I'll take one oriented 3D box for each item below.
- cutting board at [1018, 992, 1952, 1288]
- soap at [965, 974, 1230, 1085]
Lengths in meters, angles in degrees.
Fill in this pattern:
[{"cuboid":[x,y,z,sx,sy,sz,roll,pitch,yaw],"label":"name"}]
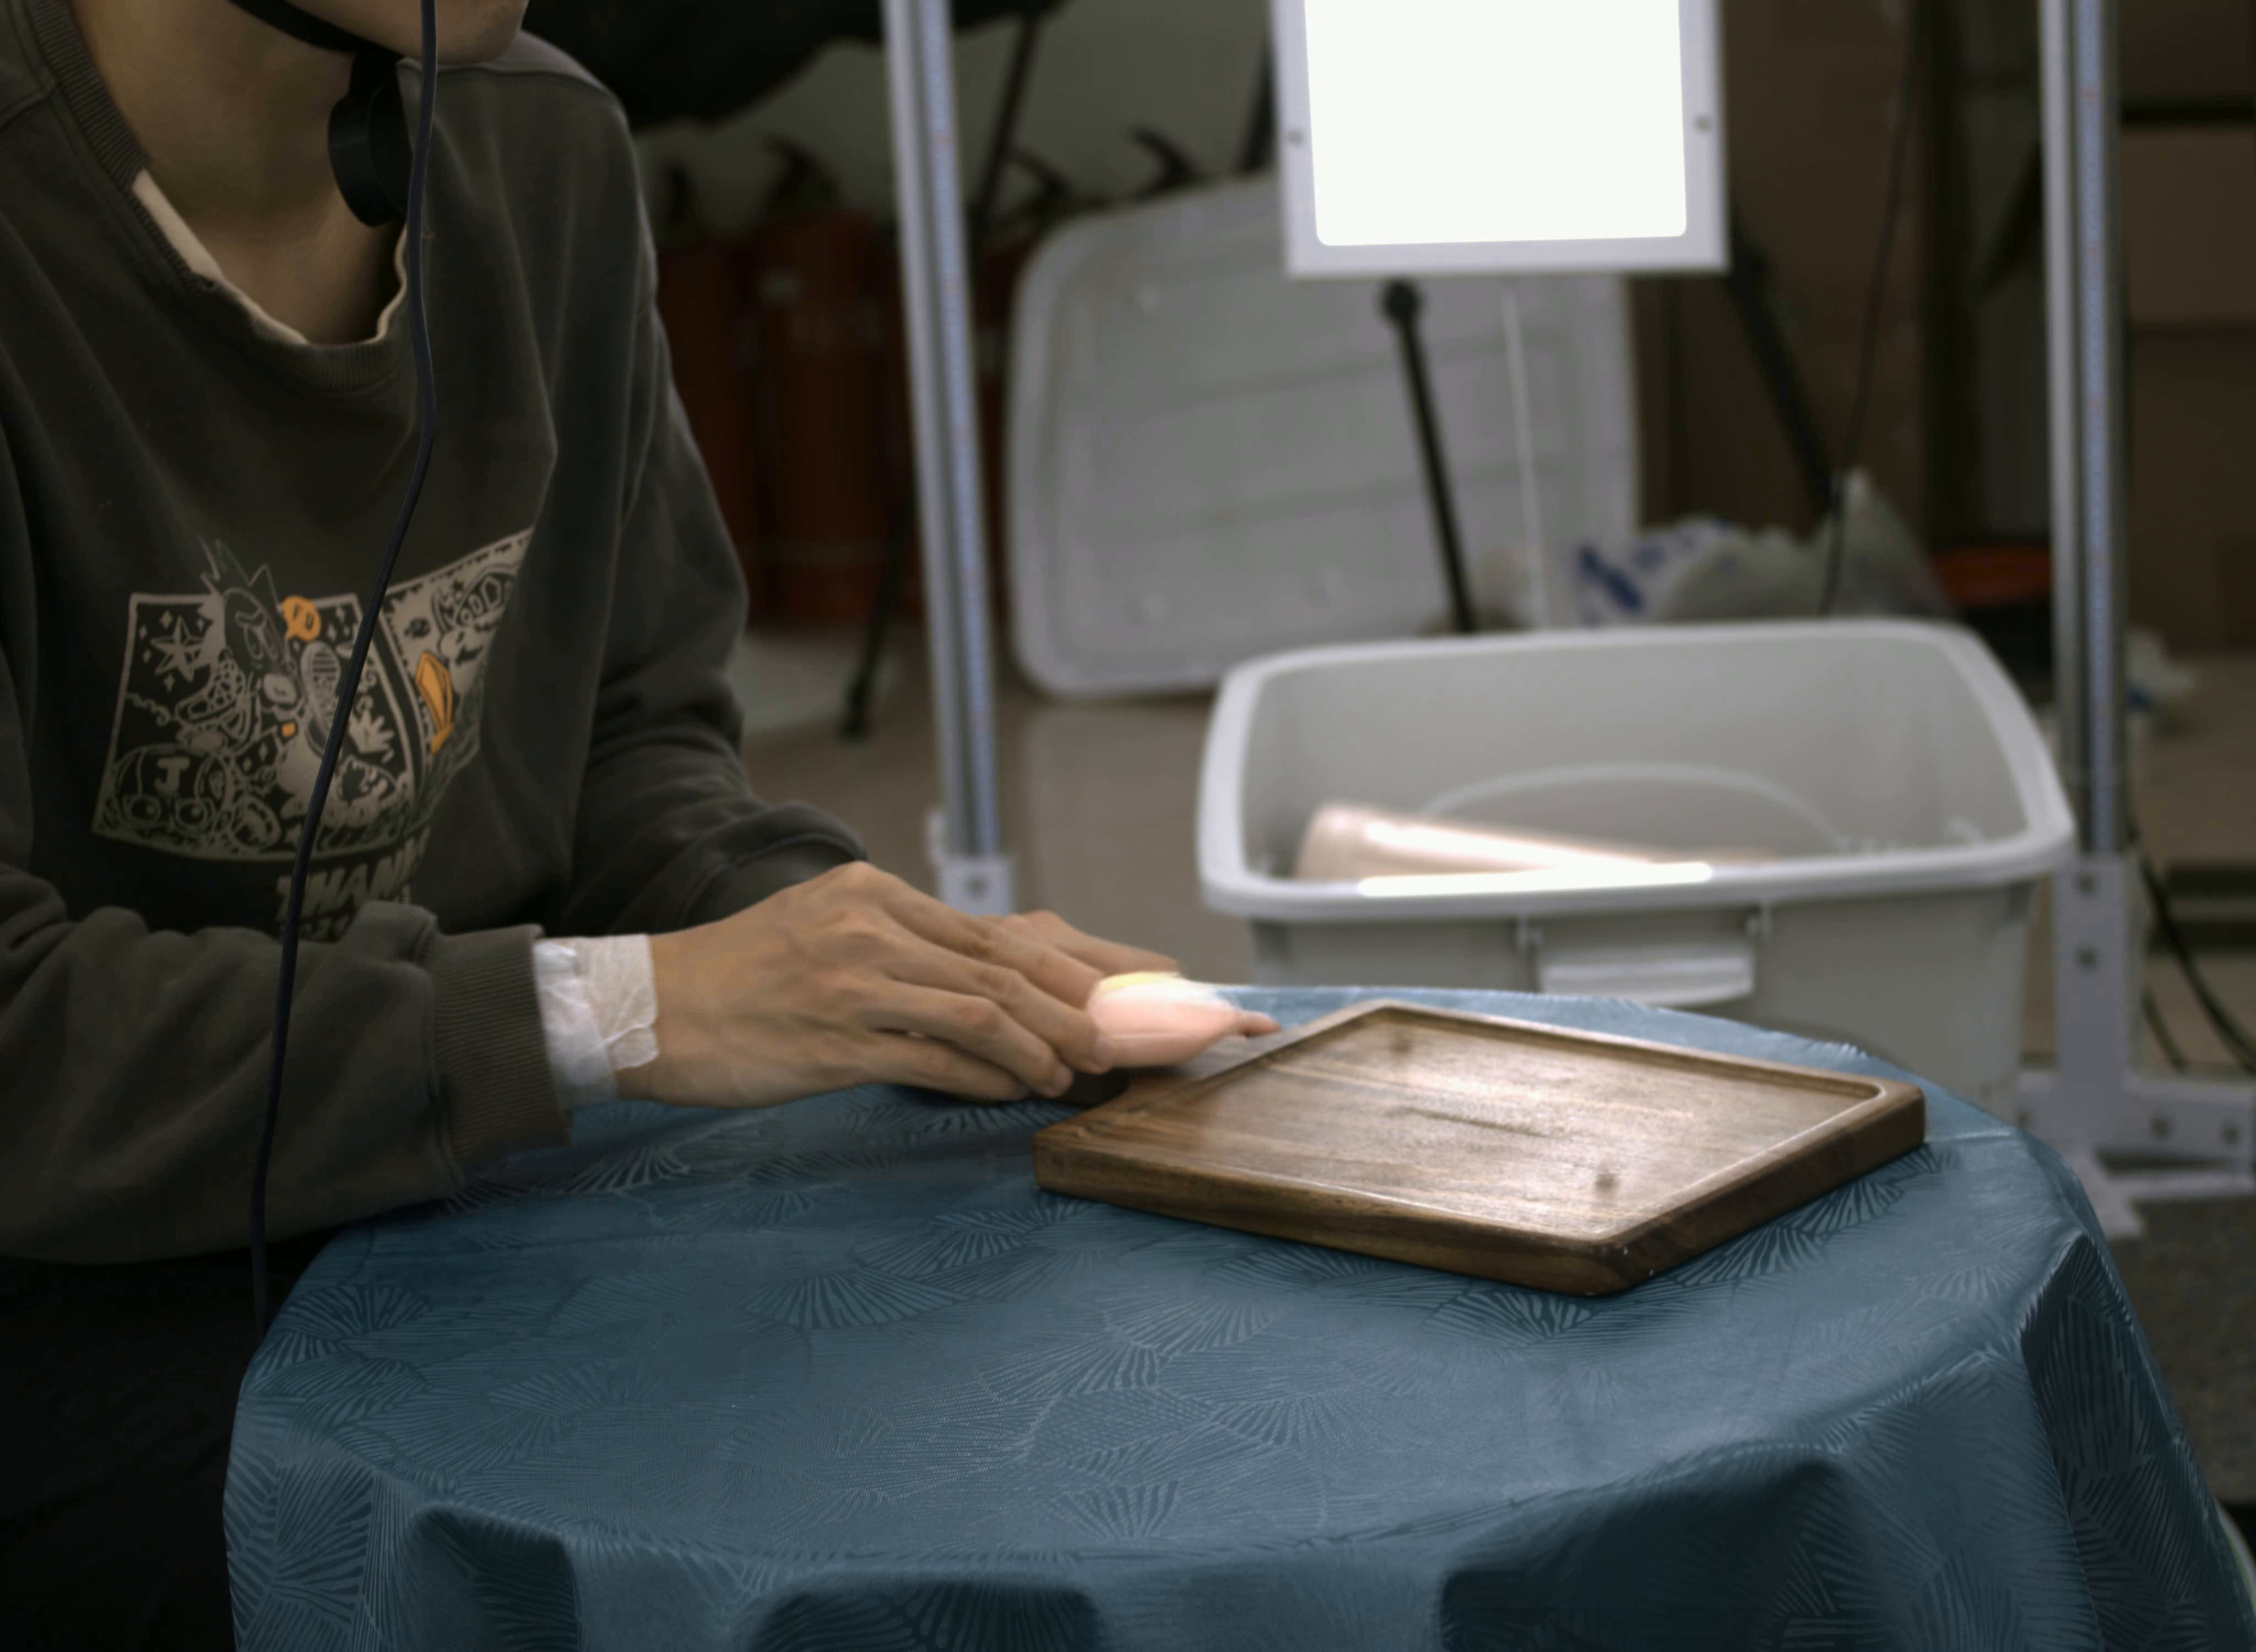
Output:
[{"cuboid":[0.094,0.099,1.930,0.360,0.023,0.196,8,19,43],"label":"cutting board"},{"cuboid":[-0.011,0.073,1.964,0.093,0.030,0.051,-6,13,-18],"label":"soap"}]
